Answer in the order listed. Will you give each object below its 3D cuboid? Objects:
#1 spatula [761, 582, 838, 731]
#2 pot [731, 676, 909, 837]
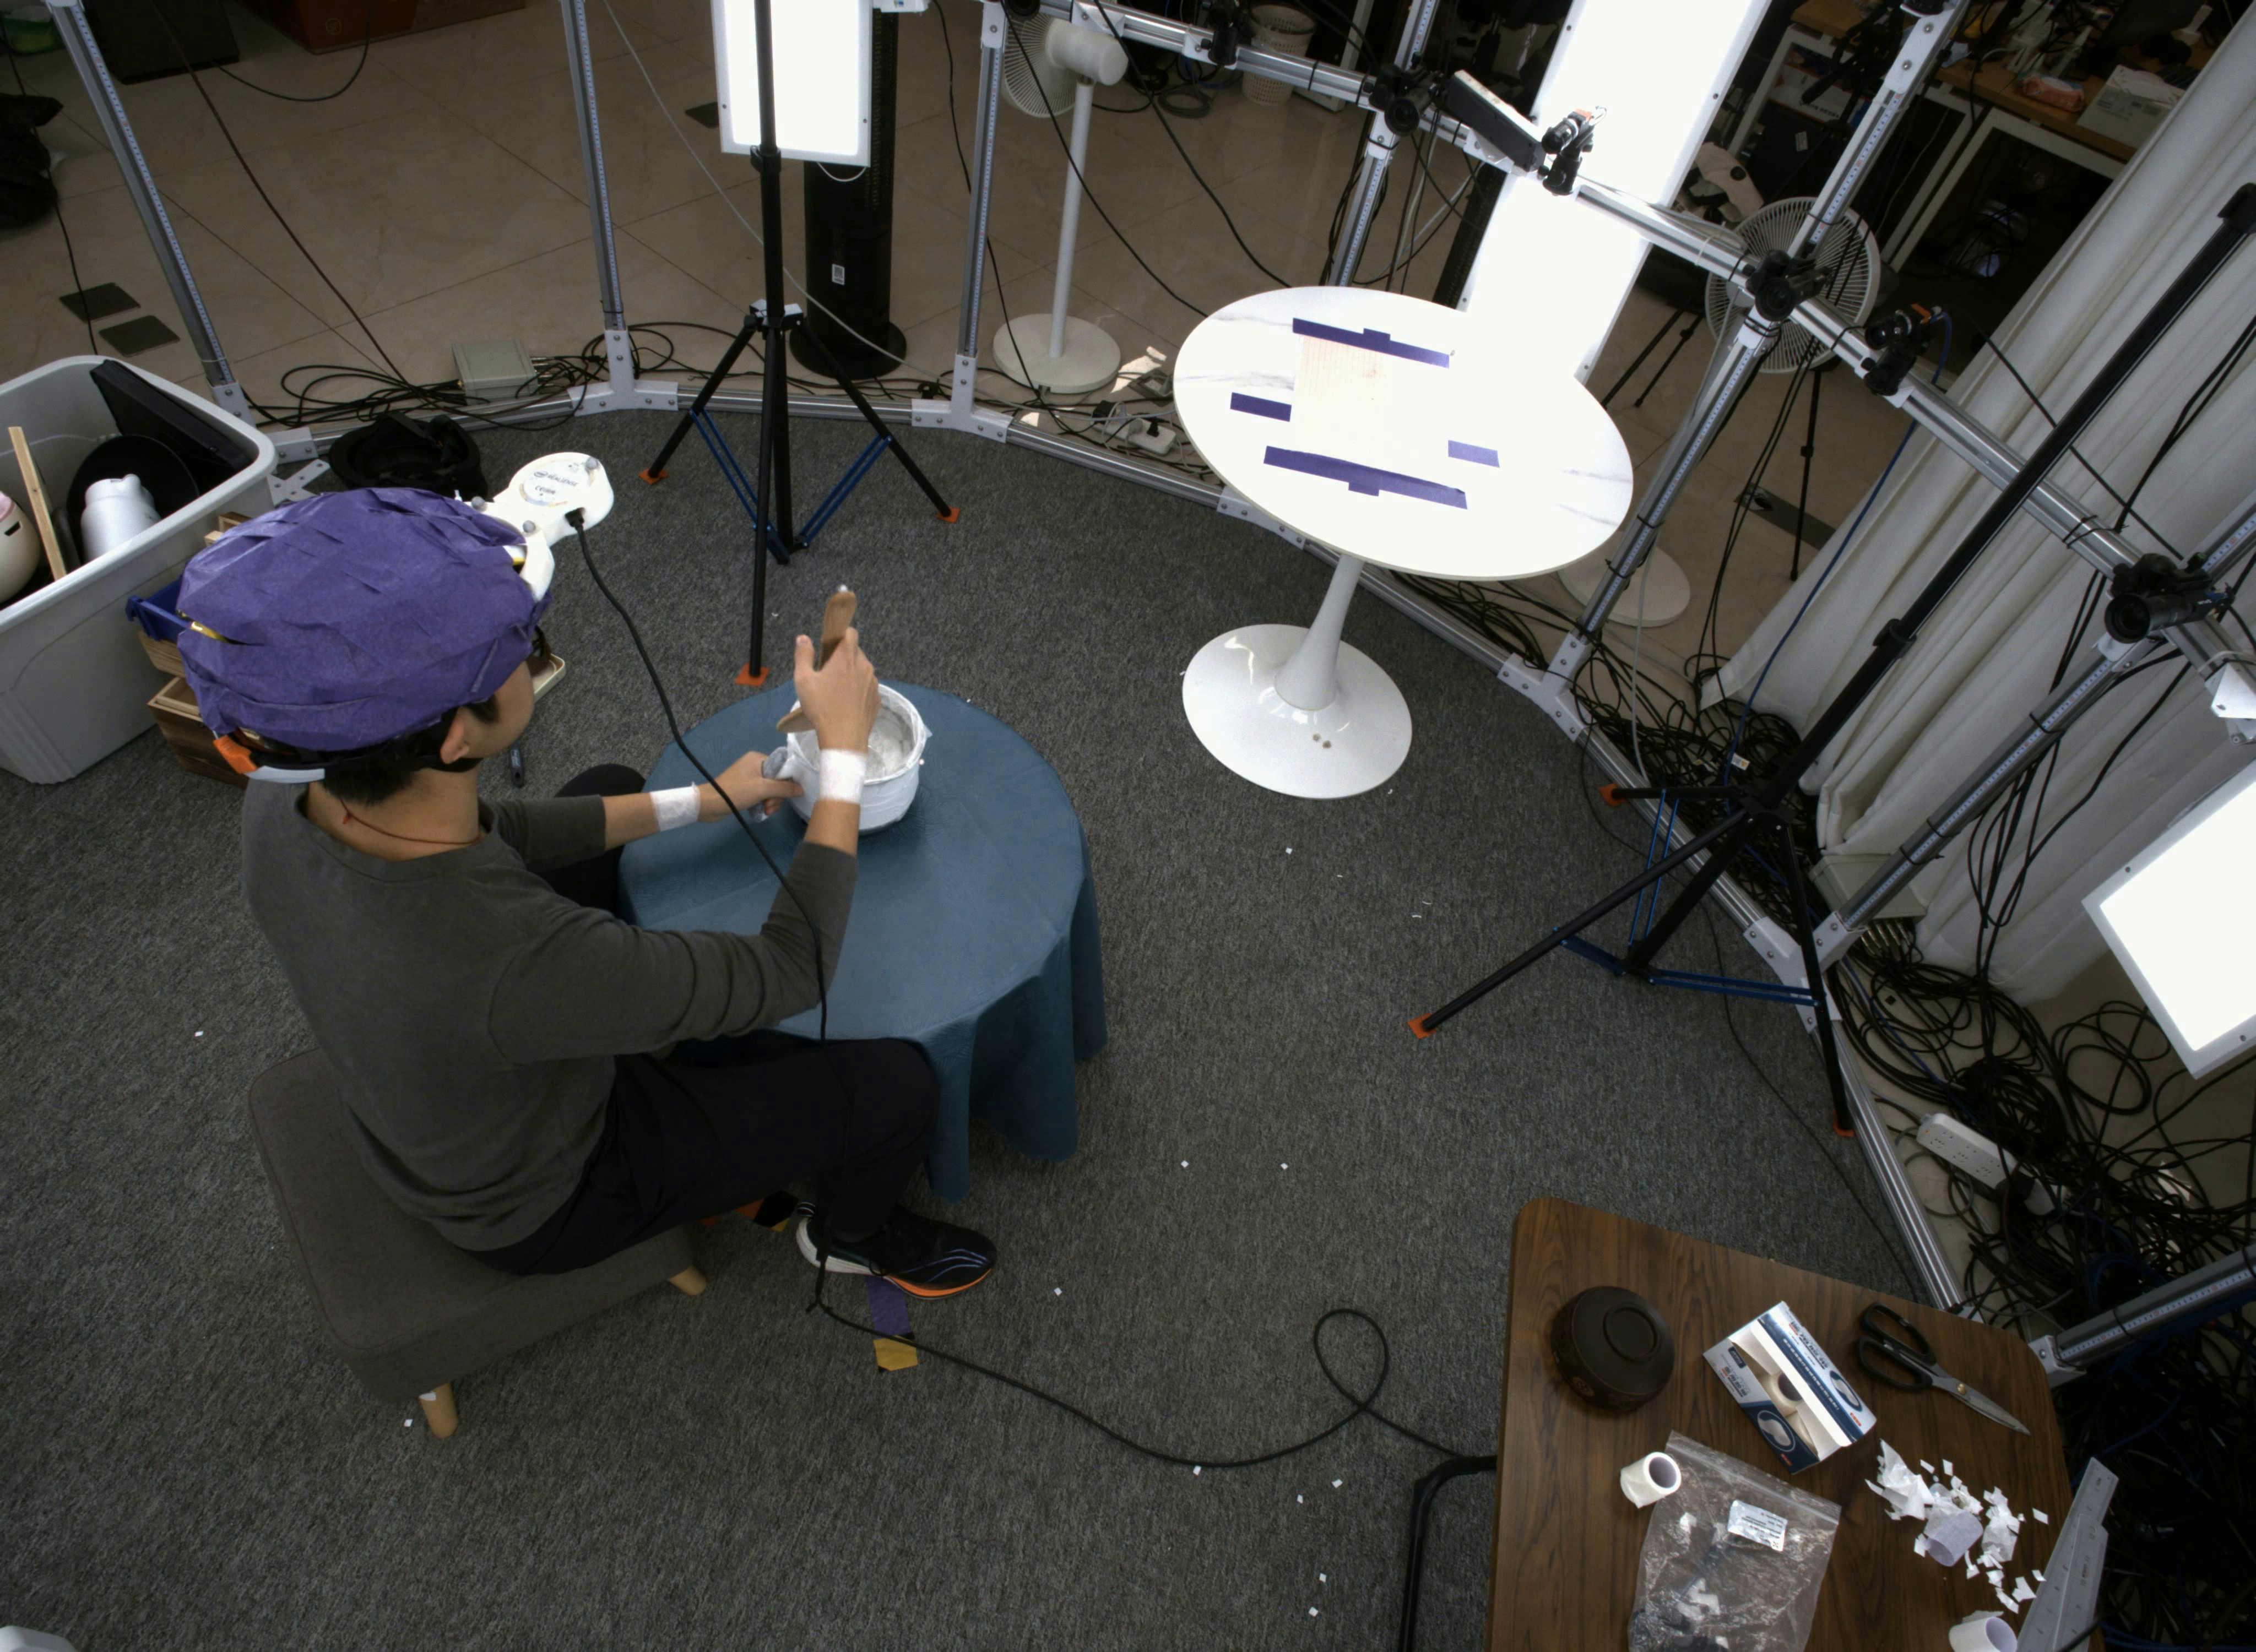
[{"bbox_3d":[-0.357,-0.180,1.448,0.096,0.390,0.018,-17,77,-22],"label":"spatula"},{"bbox_3d":[-0.406,-0.078,1.699,0.235,0.139,0.175,-23,64,-32],"label":"pot"}]
